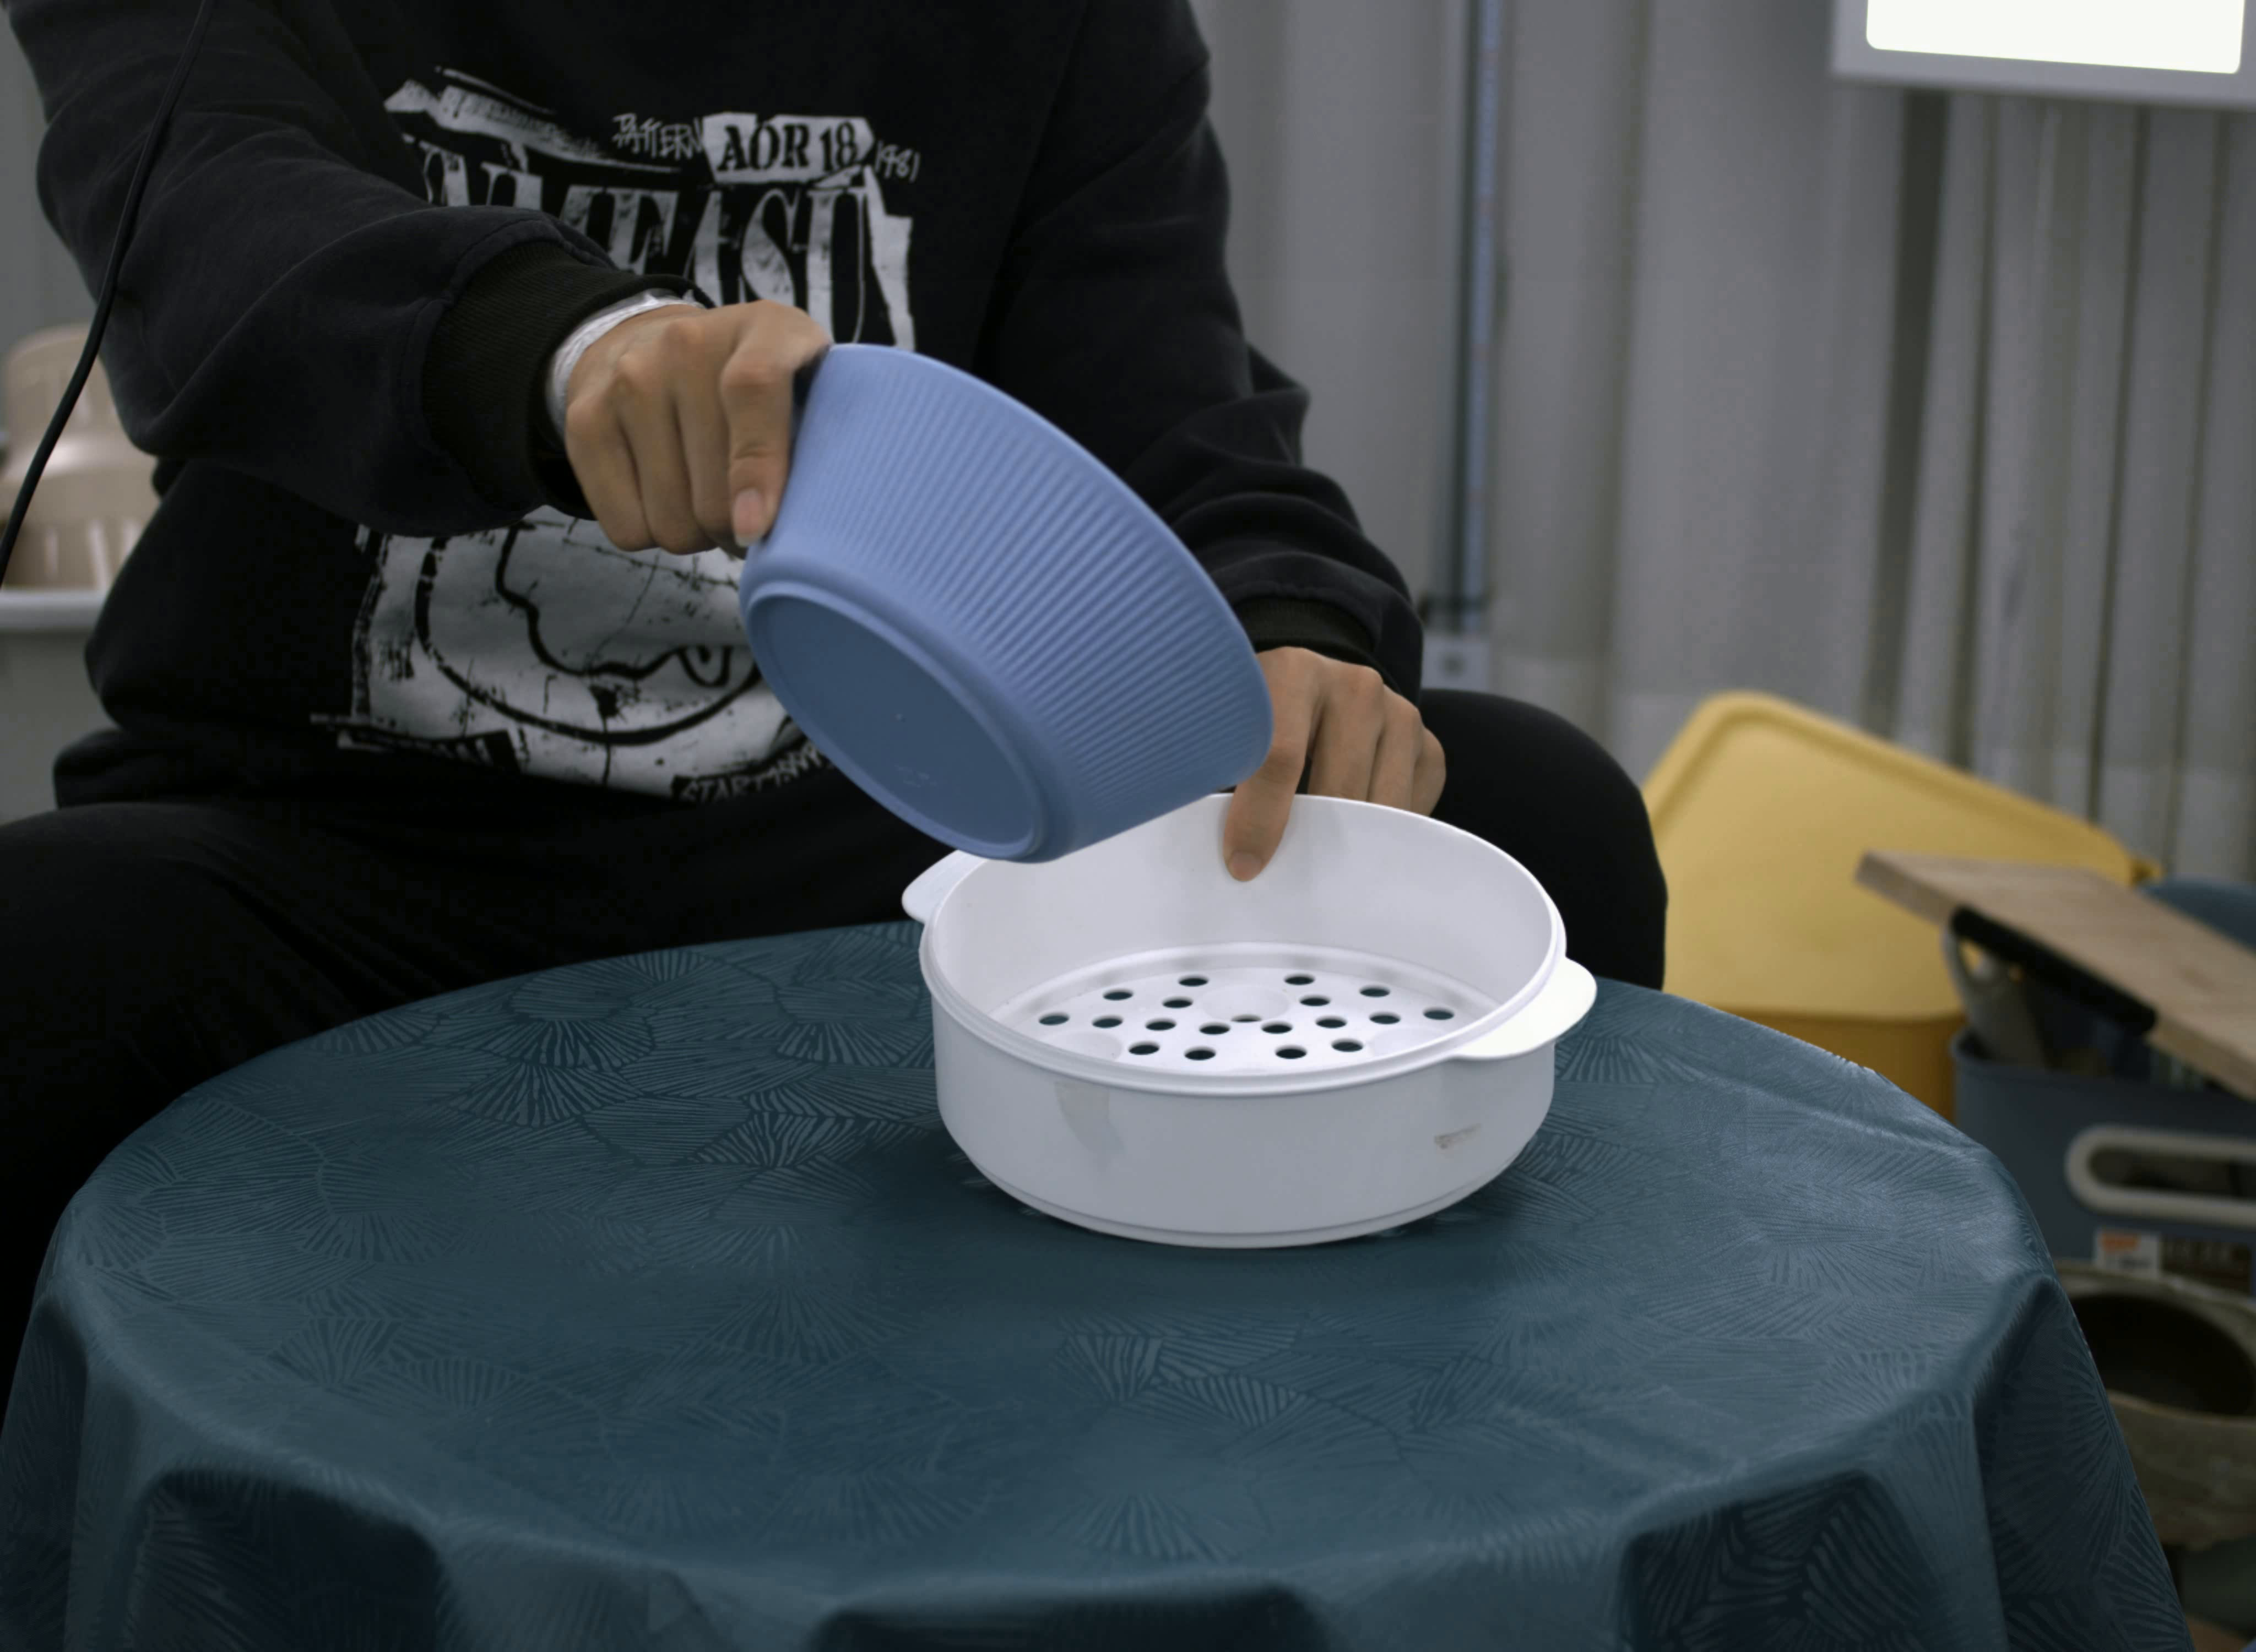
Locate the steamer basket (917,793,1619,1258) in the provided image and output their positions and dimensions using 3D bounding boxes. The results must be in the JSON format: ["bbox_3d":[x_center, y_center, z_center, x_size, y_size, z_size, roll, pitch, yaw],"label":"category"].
[{"bbox_3d":[0.041,0.062,1.643,0.228,0.070,0.202,16,30,26],"label":"steamer basket"}]

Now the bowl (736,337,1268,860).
[{"bbox_3d":[-0.048,-0.053,1.511,0.173,0.178,0.070,18,59,45],"label":"bowl"}]
